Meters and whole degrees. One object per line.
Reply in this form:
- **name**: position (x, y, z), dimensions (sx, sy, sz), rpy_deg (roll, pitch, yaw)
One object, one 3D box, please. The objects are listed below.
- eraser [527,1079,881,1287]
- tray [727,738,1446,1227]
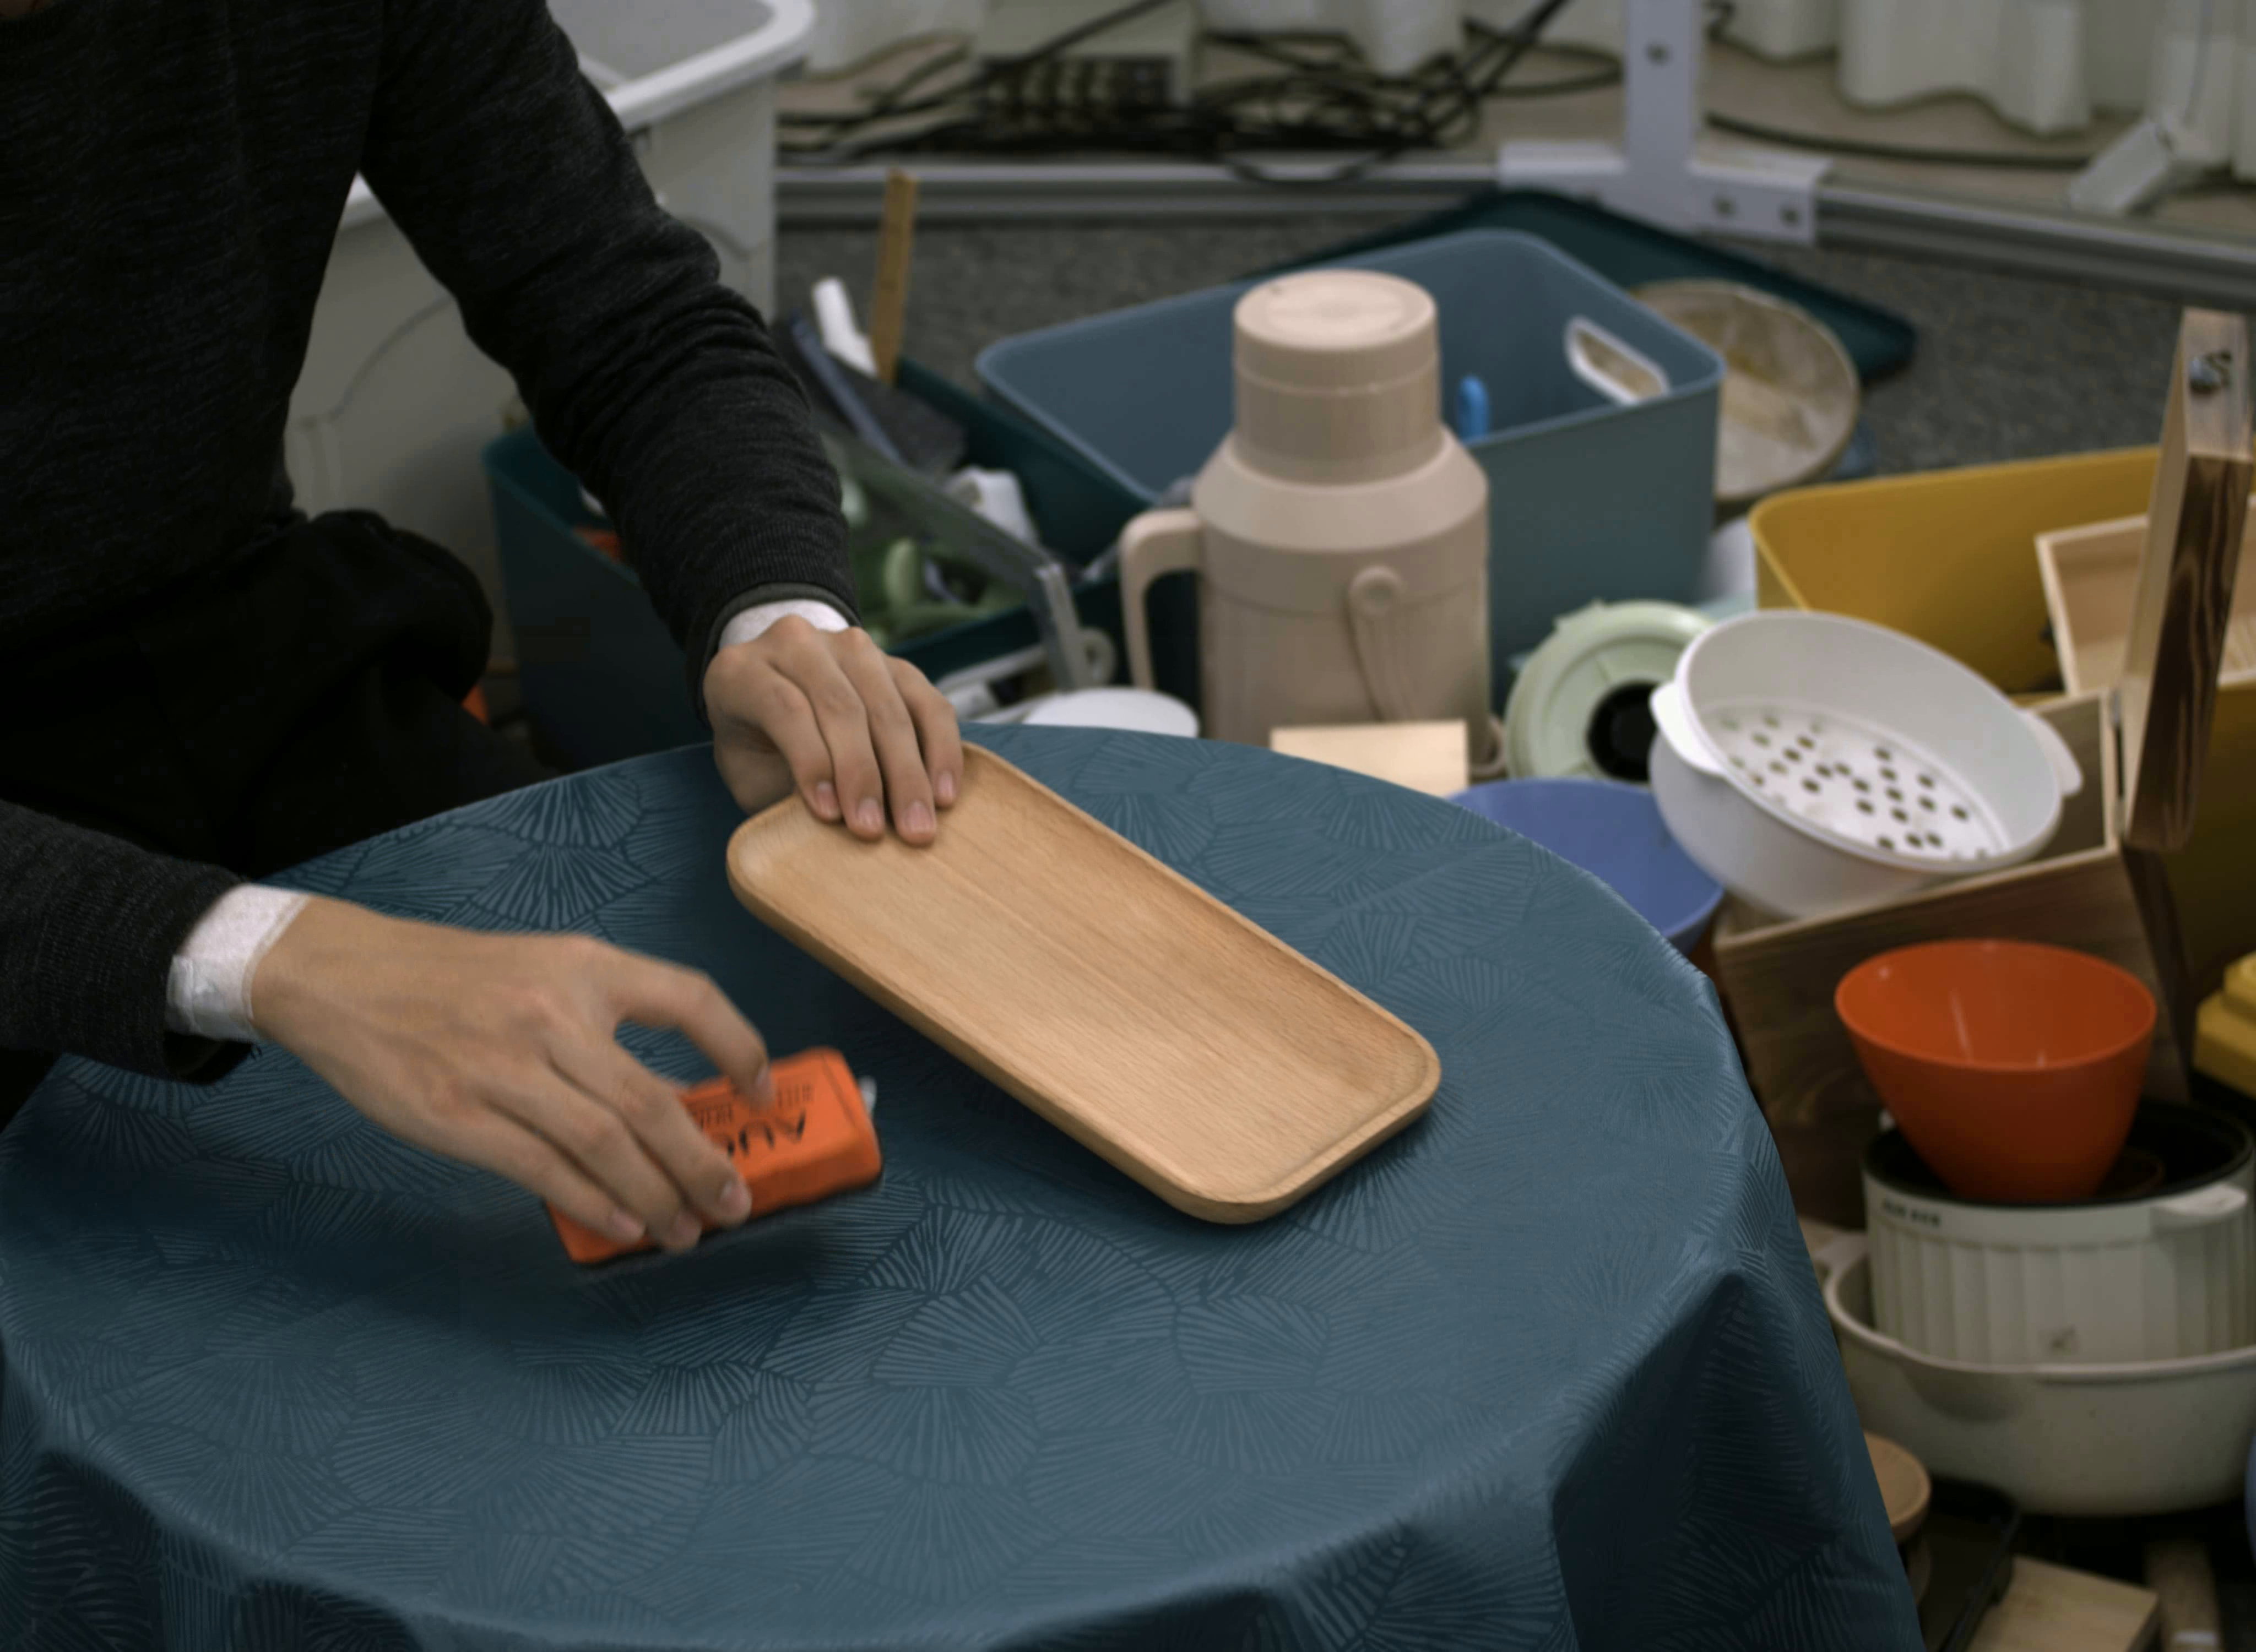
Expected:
- **eraser**: position (-0.137, 0.115, 1.811), dimensions (0.108, 0.022, 0.059), rpy_deg (-13, 28, -12)
- **tray**: position (-0.016, 0.051, 1.918), dimensions (0.251, 0.022, 0.132), rpy_deg (33, 39, 29)
